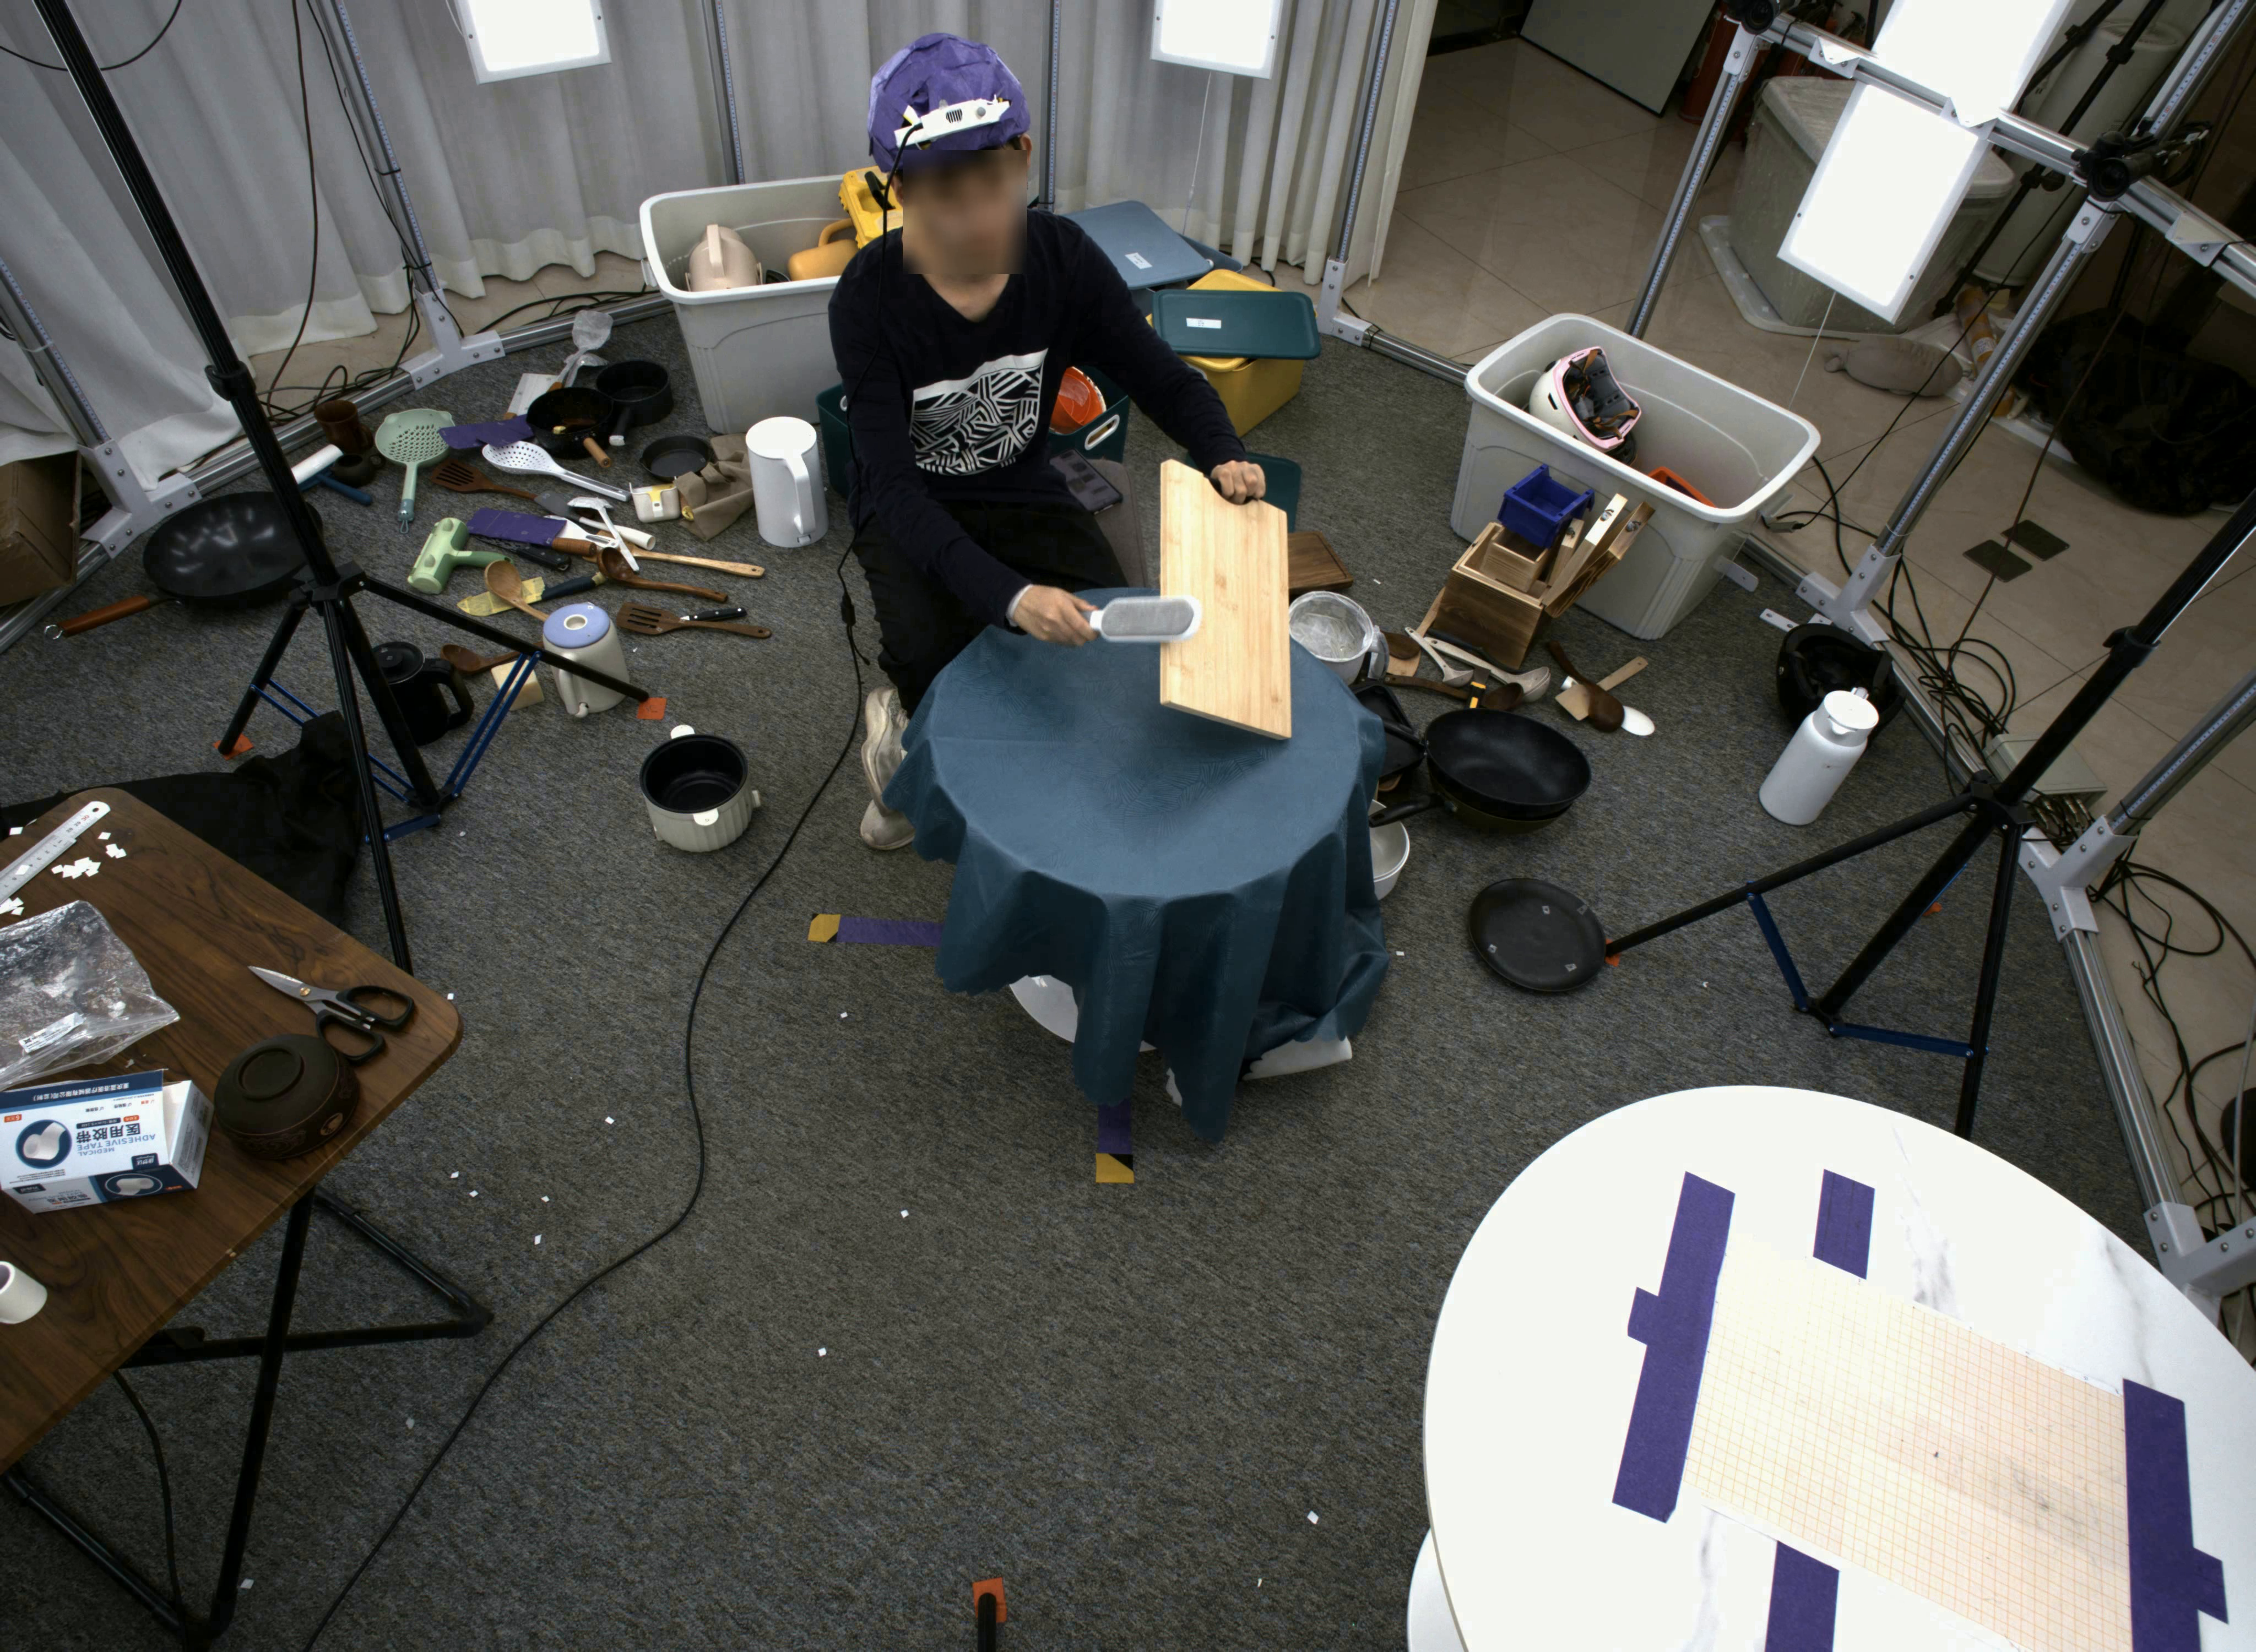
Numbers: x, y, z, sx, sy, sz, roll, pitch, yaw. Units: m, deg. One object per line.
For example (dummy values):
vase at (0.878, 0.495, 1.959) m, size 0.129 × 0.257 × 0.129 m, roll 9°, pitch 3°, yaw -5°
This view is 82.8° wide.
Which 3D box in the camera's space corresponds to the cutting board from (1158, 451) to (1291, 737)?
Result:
cutting board at (0.134, -0.310, 1.750) m, size 0.248 × 0.023 × 0.353 m, roll 12°, pitch 72°, yaw -41°

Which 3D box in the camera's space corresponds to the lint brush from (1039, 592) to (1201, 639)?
lint brush at (-0.017, -0.278, 1.704) m, size 0.021 × 0.060 × 0.311 m, roll 8°, pitch 1°, yaw -43°
